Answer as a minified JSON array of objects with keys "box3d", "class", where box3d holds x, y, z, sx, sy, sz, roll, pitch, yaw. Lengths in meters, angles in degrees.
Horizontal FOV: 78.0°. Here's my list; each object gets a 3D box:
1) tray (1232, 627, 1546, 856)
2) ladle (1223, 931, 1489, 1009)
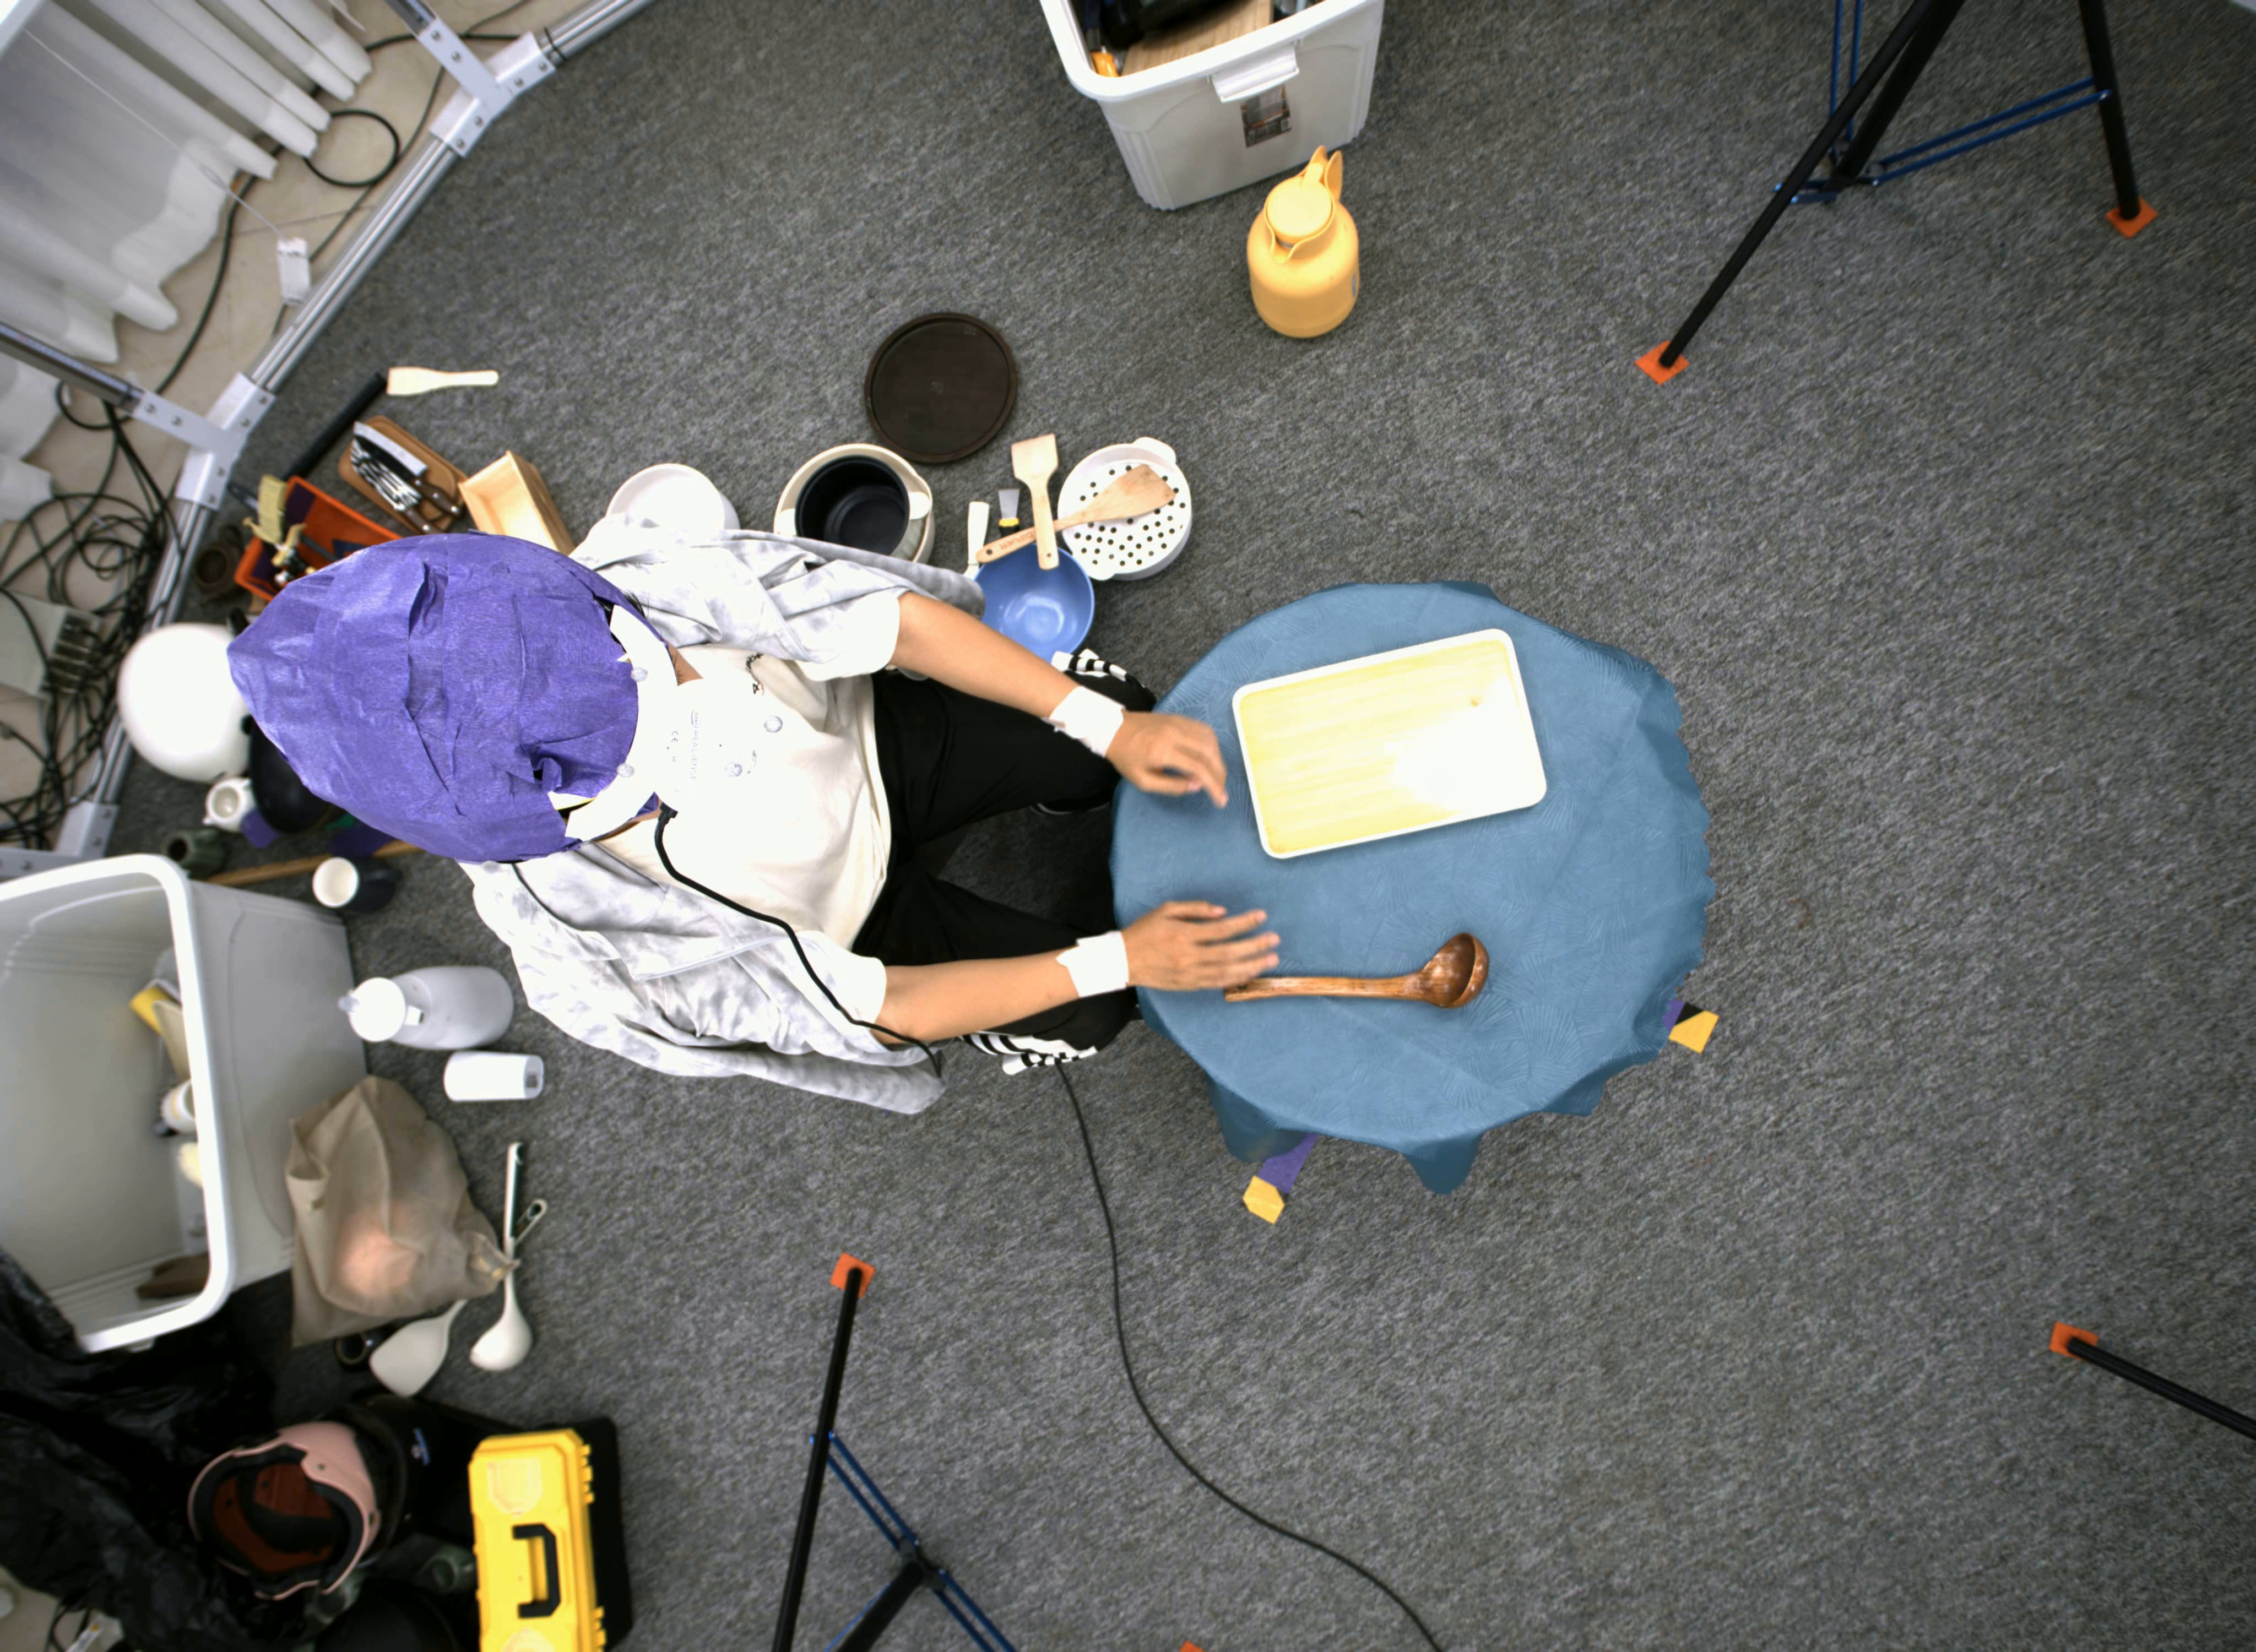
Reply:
[{"box3d":[0.272,-0.089,1.452,0.302,0.027,0.190,-12,85,10],"class":"tray"},{"box3d":[0.231,0.148,1.426,0.275,0.078,0.079,0,44,12],"class":"ladle"}]
